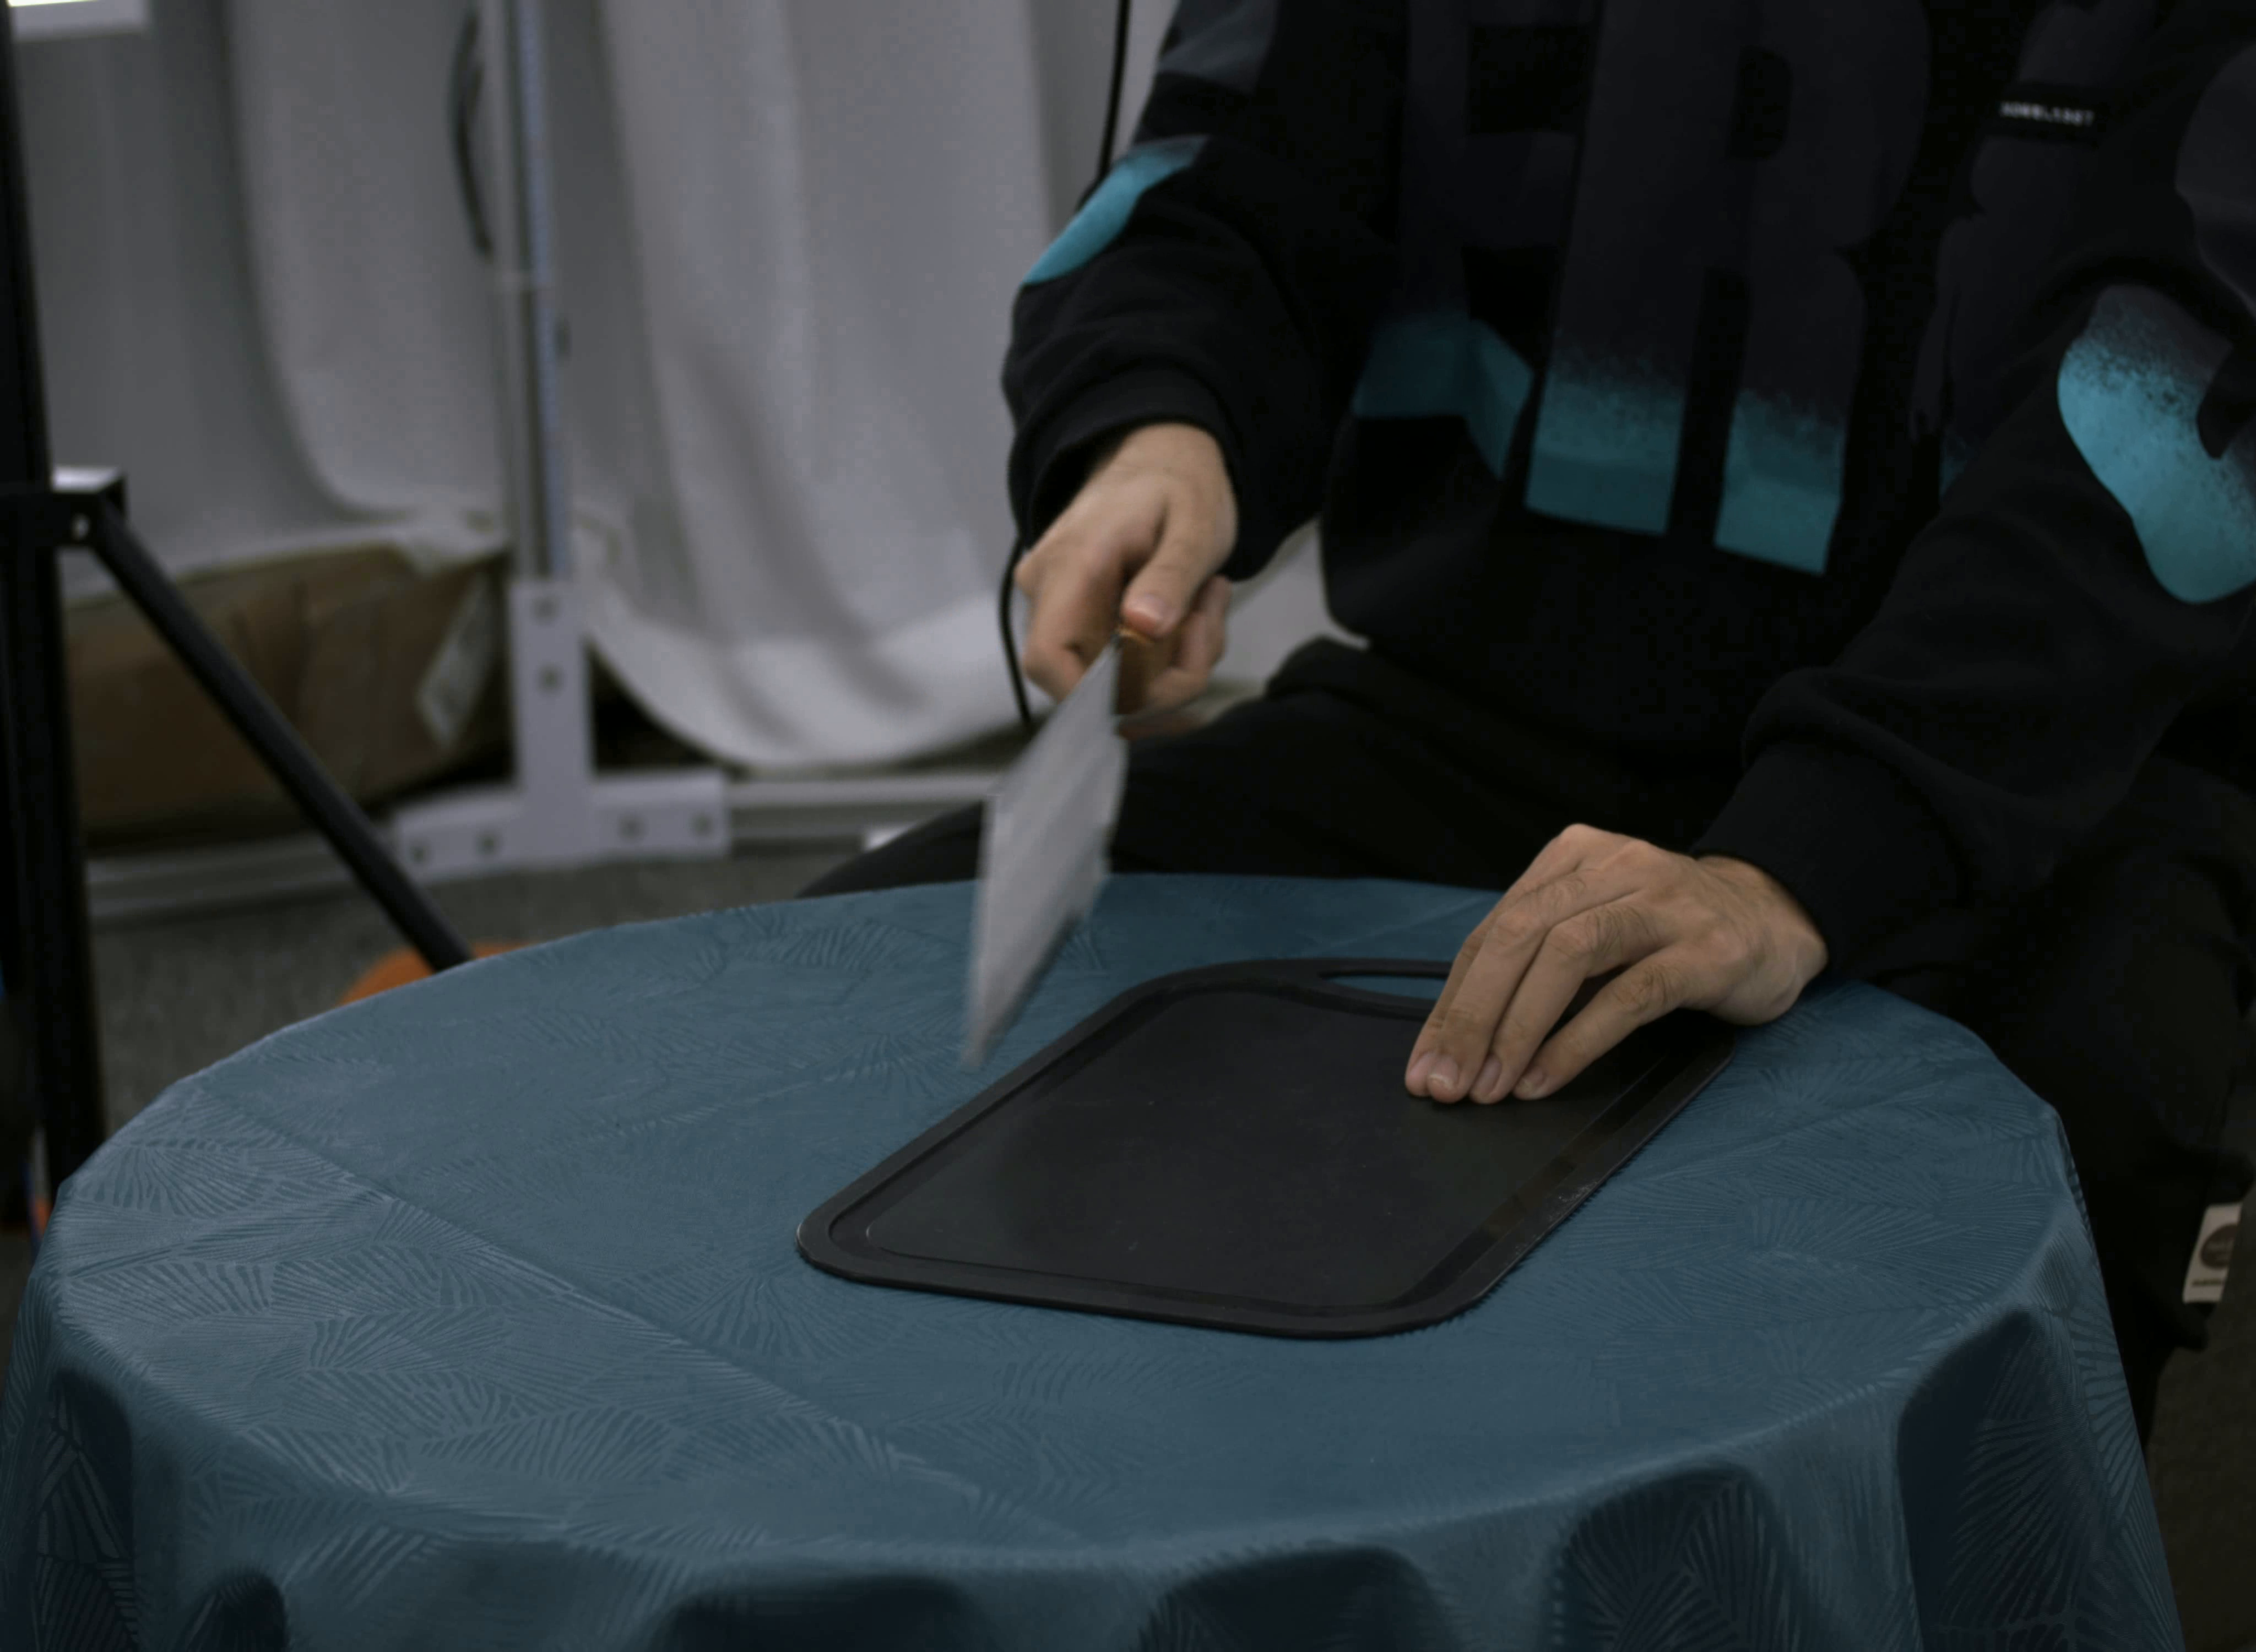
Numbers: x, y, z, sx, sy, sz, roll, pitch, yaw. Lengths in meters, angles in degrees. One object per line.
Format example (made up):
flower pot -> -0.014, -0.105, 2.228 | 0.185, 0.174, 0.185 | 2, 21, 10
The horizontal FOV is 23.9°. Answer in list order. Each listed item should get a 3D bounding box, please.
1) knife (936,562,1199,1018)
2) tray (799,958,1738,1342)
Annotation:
knife -> -0.020, -0.012, 1.703 | 0.021, 0.093, 0.304 | 11, 19, 9
tray -> 0.051, 0.089, 1.604 | 0.214, 0.010, 0.320 | 5, 18, 26
